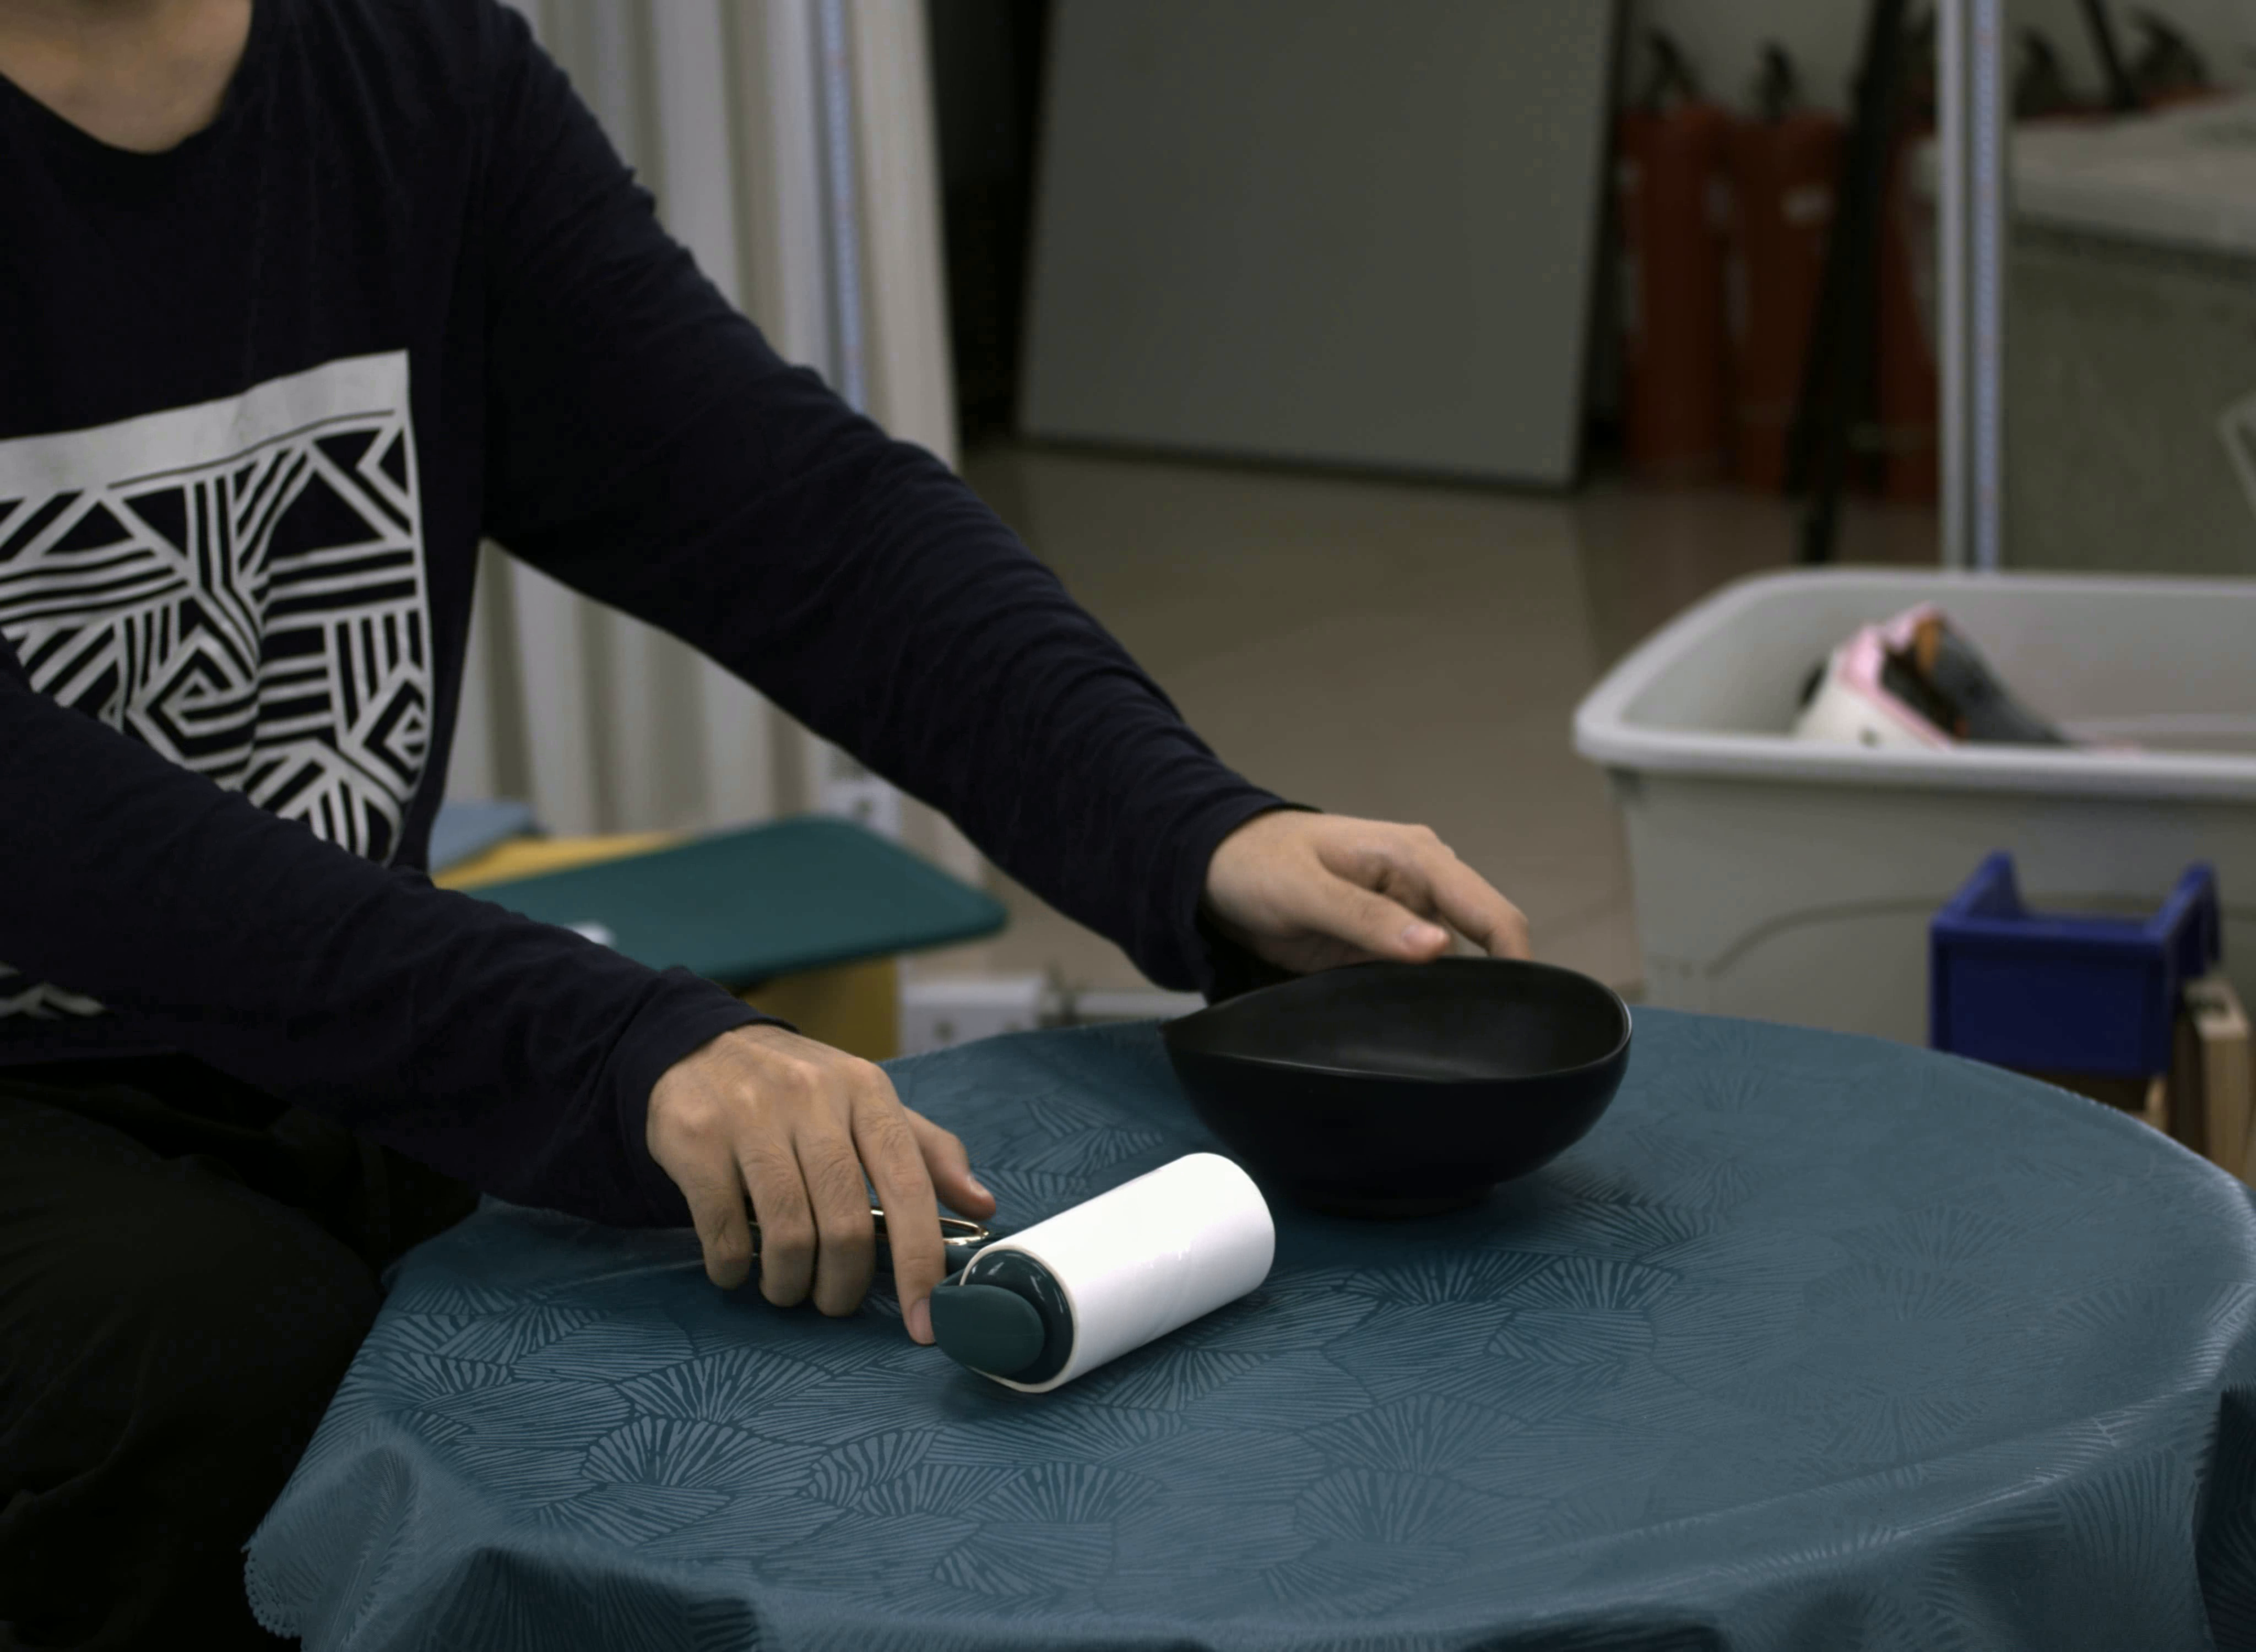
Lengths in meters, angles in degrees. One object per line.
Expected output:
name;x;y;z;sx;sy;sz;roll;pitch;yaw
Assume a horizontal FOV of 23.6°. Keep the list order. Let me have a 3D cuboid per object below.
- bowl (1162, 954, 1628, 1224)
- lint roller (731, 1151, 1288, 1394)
bowl;0.086;0.089;1.747;0.172;0.067;0.134;6;17;43
lint roller;-0.055;0.128;1.664;0.181;0.049;0.132;6;17;39
